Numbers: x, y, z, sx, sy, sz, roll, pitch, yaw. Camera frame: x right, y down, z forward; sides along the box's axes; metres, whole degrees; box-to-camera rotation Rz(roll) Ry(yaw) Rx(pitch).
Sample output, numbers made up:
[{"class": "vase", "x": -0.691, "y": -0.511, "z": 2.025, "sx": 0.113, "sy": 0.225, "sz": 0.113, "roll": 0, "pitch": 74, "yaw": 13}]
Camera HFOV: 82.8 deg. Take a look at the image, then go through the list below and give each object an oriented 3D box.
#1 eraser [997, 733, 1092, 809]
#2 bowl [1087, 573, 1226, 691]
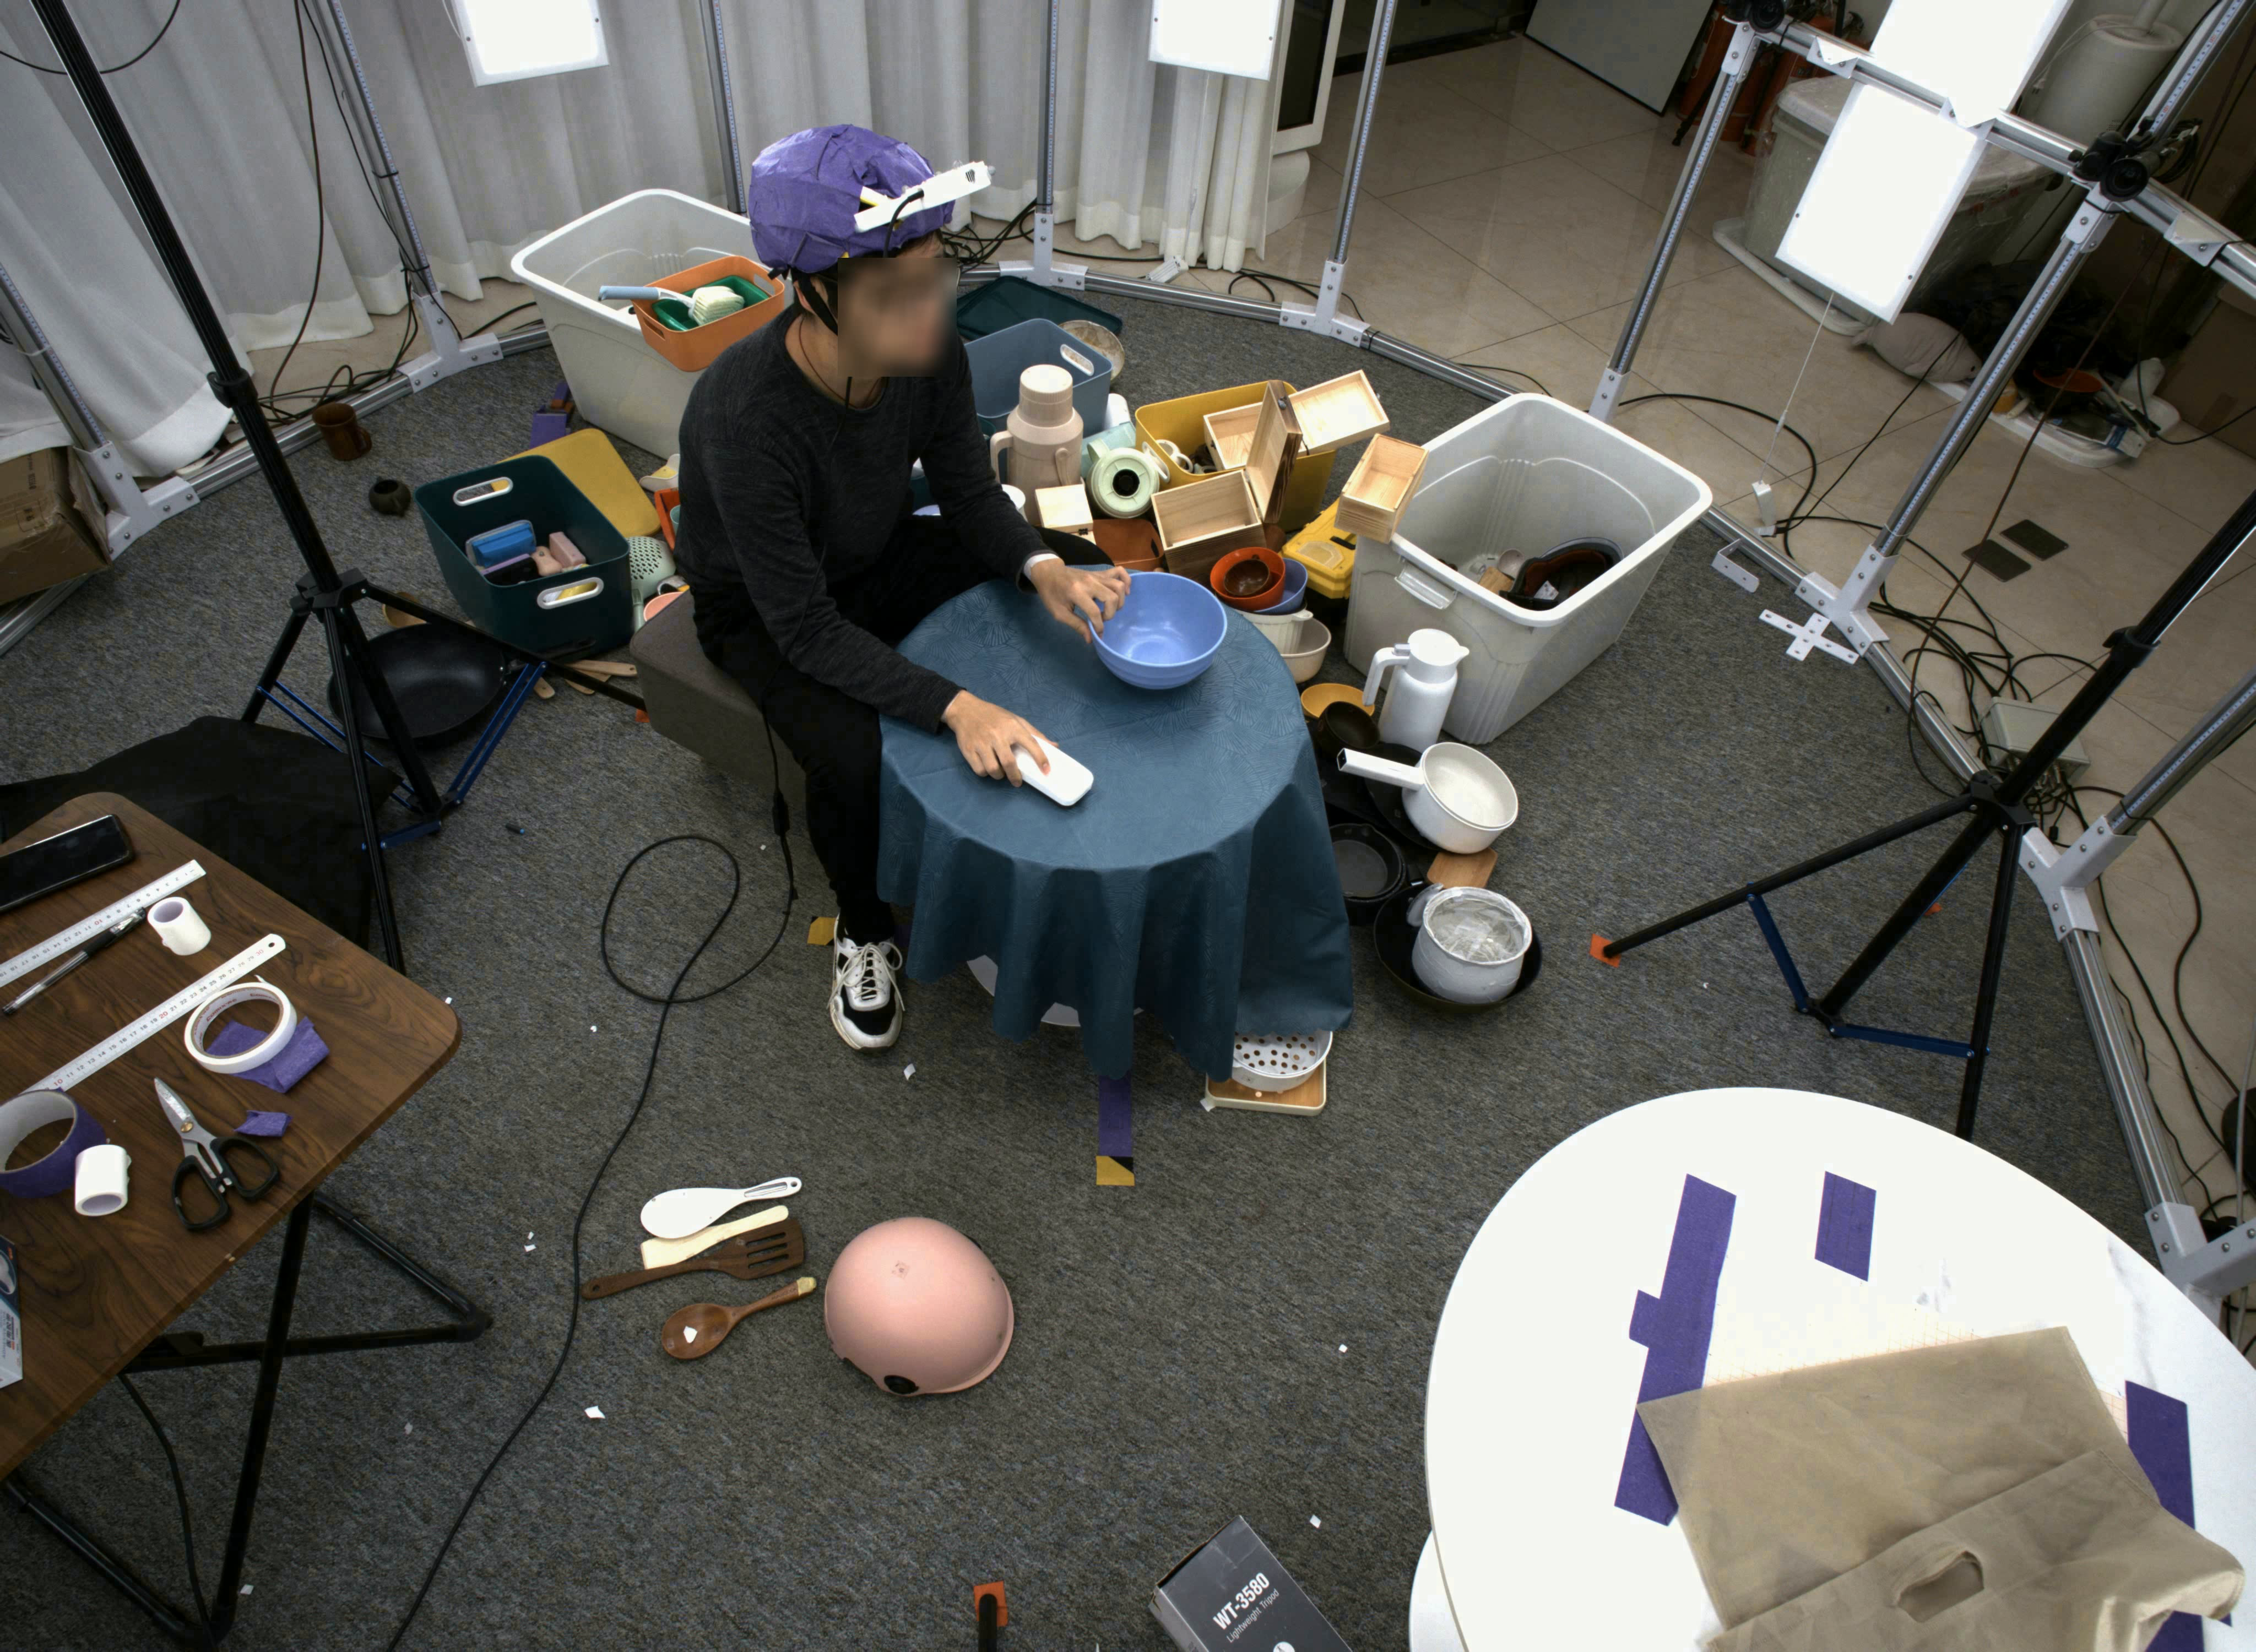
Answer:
[{"class": "eraser", "x": -0.111, "y": -0.076, "z": 1.709, "sx": 0.133, "sy": 0.034, "sz": 0.064, "roll": 34, "pitch": 55, "yaw": 22}, {"class": "bowl", "x": 0.038, "y": -0.263, "z": 1.842, "sx": 0.196, "sy": 0.093, "sz": 0.201, "roll": 1, "pitch": 50, "yaw": -2}]
